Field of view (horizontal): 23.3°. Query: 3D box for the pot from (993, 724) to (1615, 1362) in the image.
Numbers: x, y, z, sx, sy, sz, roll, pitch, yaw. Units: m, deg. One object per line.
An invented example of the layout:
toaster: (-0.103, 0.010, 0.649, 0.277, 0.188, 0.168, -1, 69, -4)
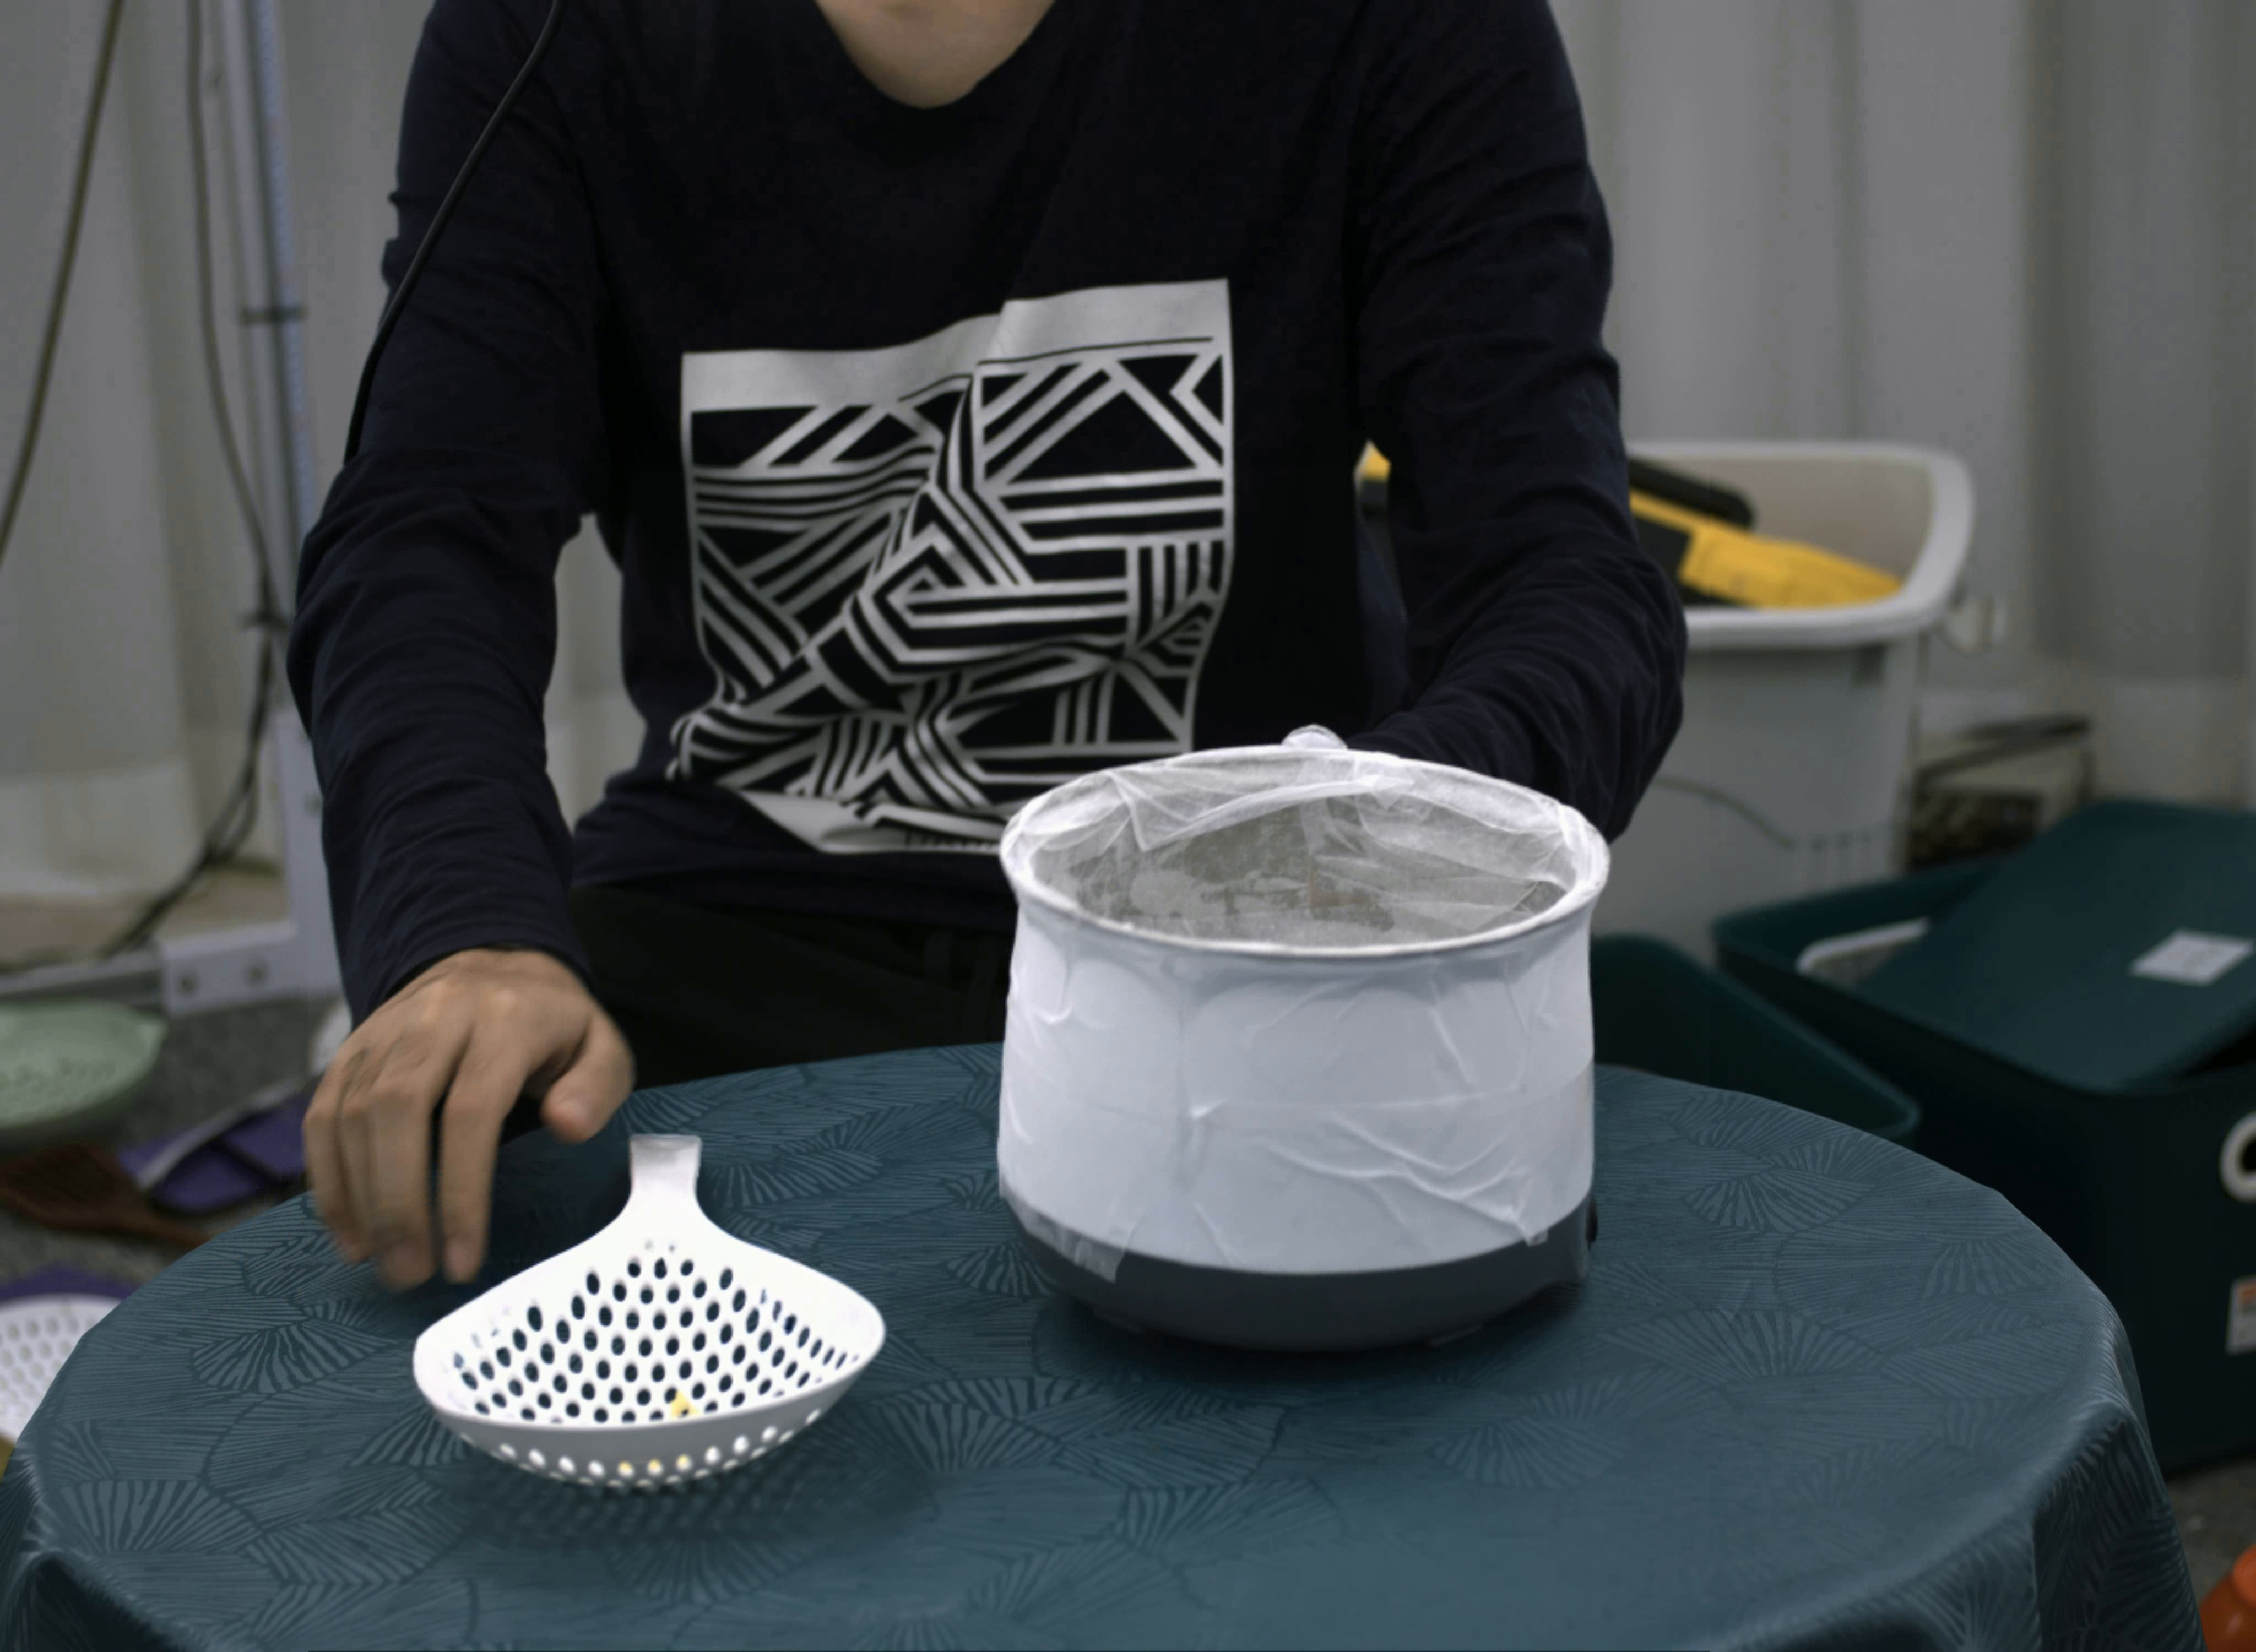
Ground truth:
pot: (0.050, 0.058, 1.622, 0.178, 0.136, 0.236, 3, 19, 1)

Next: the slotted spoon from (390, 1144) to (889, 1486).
slotted spoon: (-0.140, 0.129, 1.606, 0.136, 0.050, 0.350, -5, 16, -3)
